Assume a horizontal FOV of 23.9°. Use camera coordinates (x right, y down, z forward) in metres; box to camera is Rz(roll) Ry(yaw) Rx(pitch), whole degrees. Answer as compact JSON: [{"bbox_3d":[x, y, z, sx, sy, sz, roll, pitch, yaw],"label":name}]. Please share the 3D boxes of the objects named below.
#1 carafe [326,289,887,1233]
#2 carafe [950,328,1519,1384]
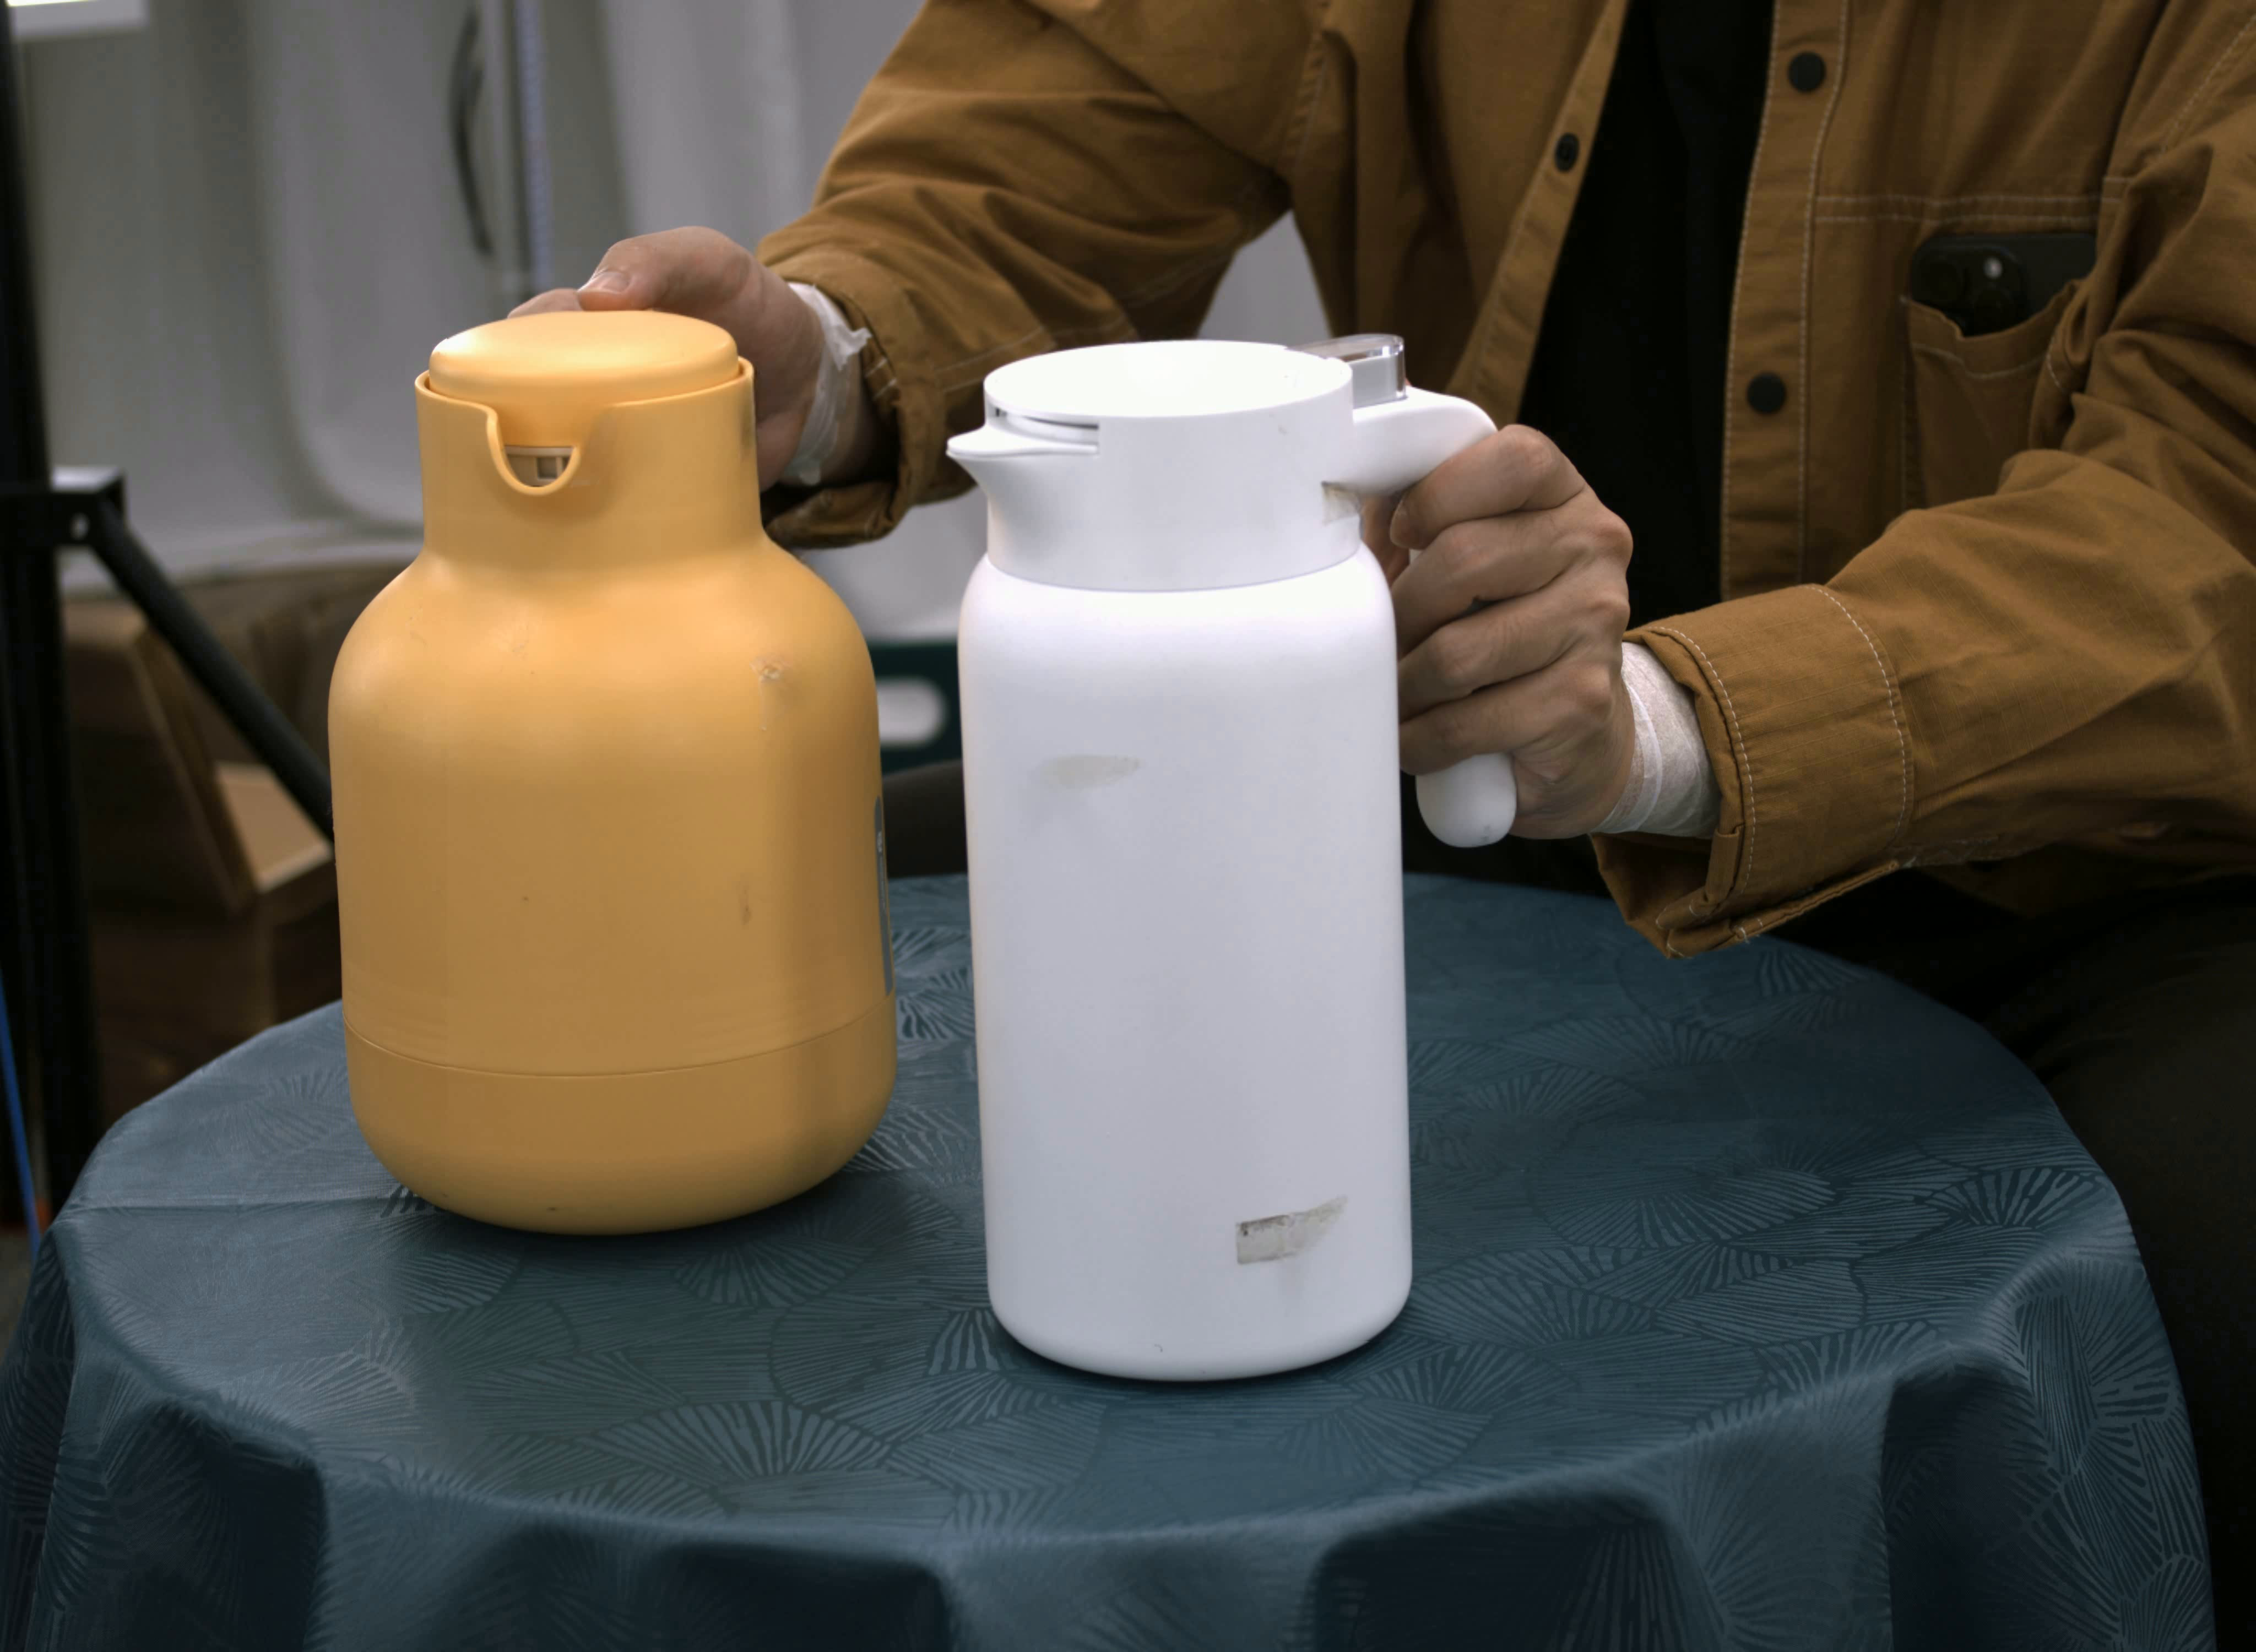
[{"bbox_3d":[-0.149,-0.027,1.577,0.164,0.260,0.202,3,17,9],"label":"carafe"},{"bbox_3d":[0.030,0.003,1.430,0.169,0.269,0.126,-12,16,-32],"label":"carafe"}]
